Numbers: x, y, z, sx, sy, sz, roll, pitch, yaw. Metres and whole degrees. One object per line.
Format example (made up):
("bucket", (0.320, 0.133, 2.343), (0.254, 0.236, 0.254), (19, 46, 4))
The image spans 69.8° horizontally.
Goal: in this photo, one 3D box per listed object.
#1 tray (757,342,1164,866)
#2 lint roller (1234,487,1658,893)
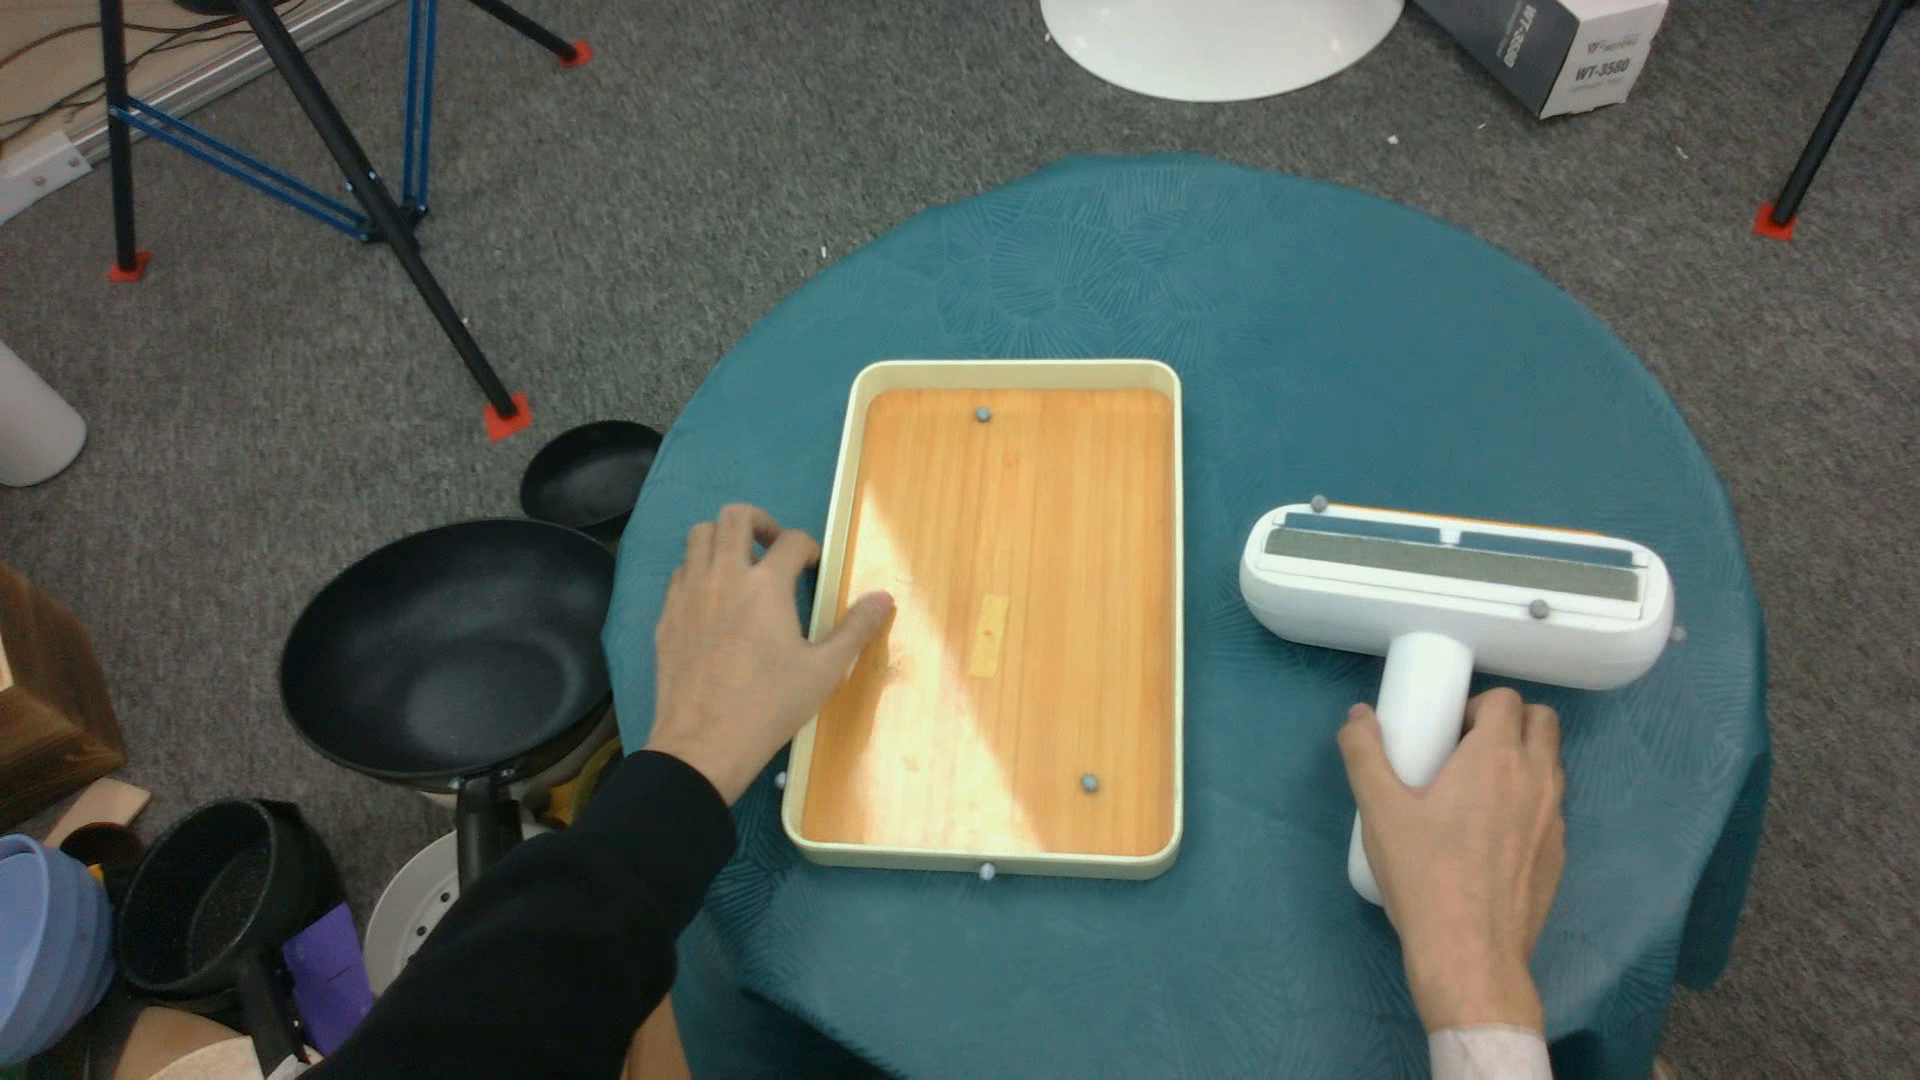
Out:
("tray", (0.010, 0.019, 0.722), (0.191, 0.027, 0.301), (2, 57, 6))
("lint roller", (0.206, 0.068, 0.641), (0.192, 0.074, 0.193), (14, 59, 23))
